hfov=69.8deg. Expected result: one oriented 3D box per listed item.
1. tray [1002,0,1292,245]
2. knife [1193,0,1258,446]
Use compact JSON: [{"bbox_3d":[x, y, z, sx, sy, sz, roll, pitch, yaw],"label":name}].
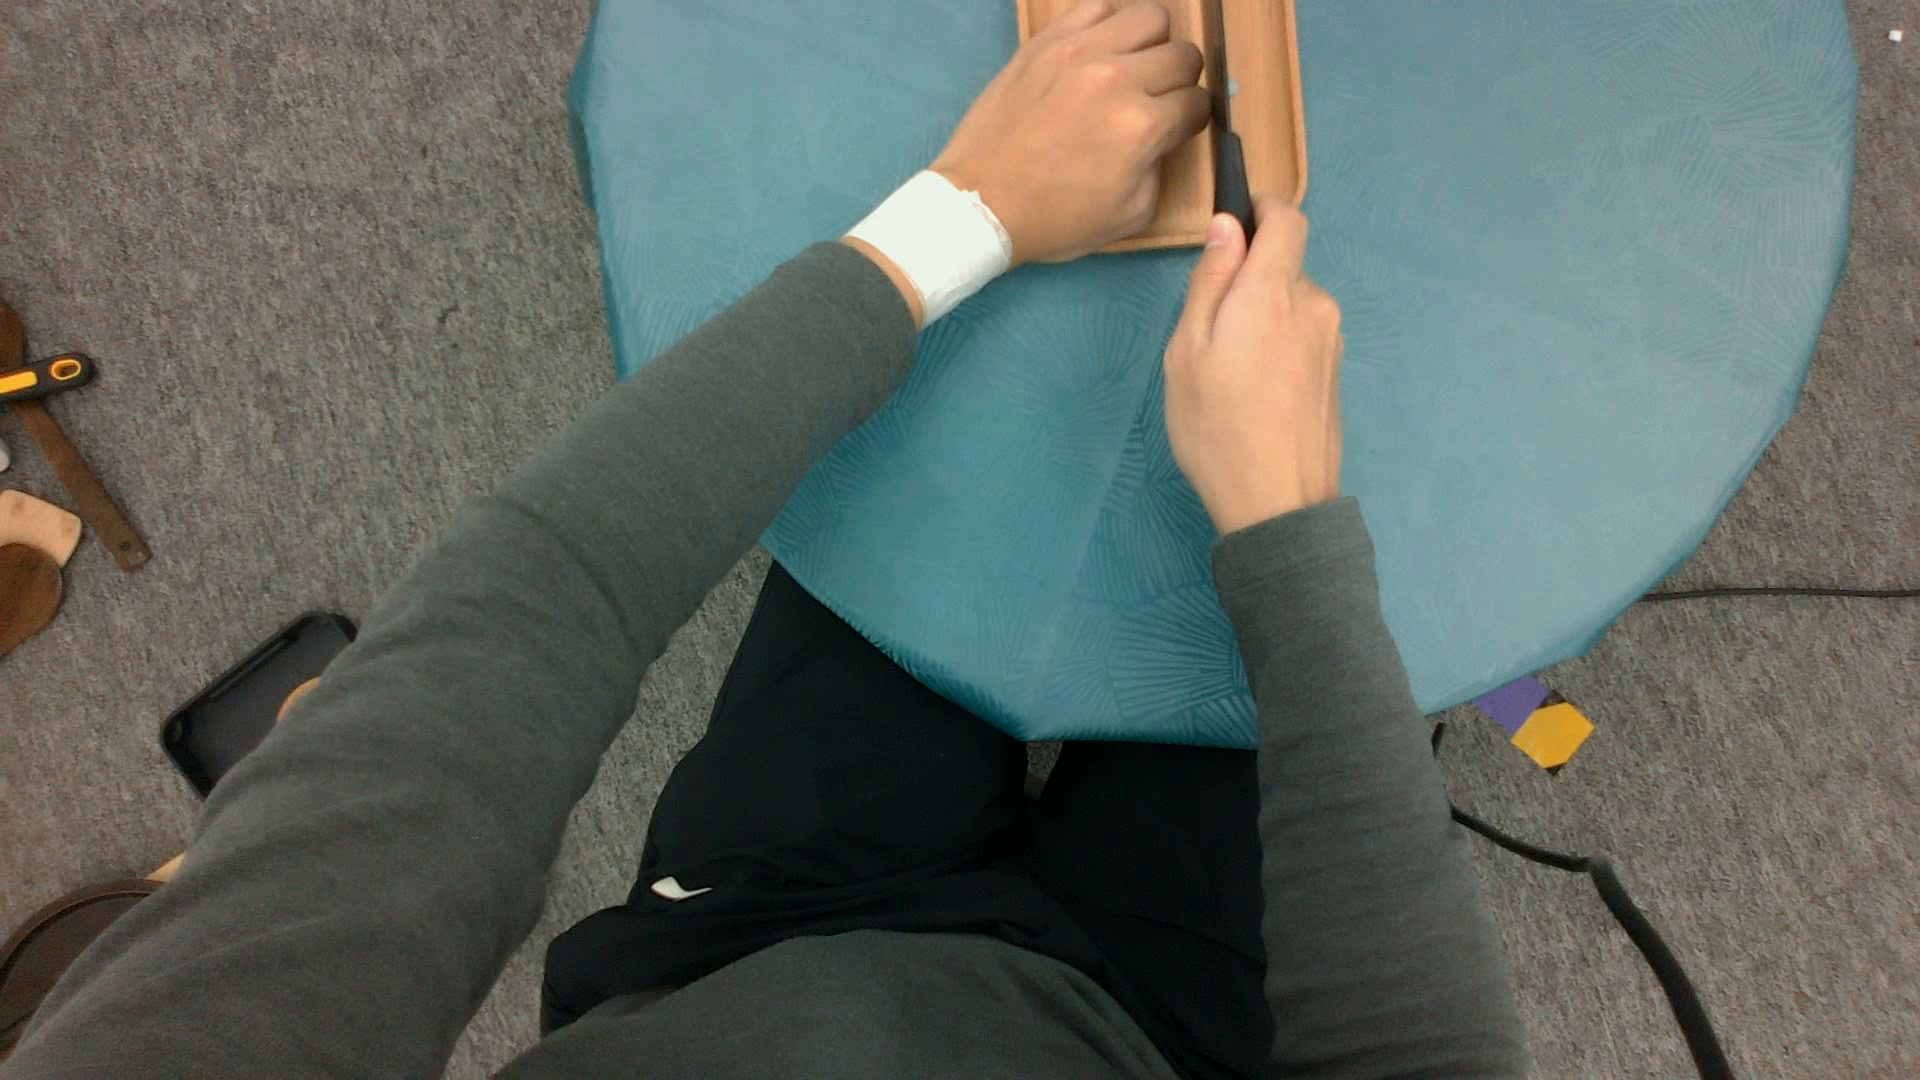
[{"bbox_3d":[0.084,-0.265,0.648,0.130,0.023,0.250,-4,89,2],"label":"tray"},{"bbox_3d":[0.109,-0.192,0.602,0.021,0.081,0.302,-4,84,5],"label":"knife"}]
